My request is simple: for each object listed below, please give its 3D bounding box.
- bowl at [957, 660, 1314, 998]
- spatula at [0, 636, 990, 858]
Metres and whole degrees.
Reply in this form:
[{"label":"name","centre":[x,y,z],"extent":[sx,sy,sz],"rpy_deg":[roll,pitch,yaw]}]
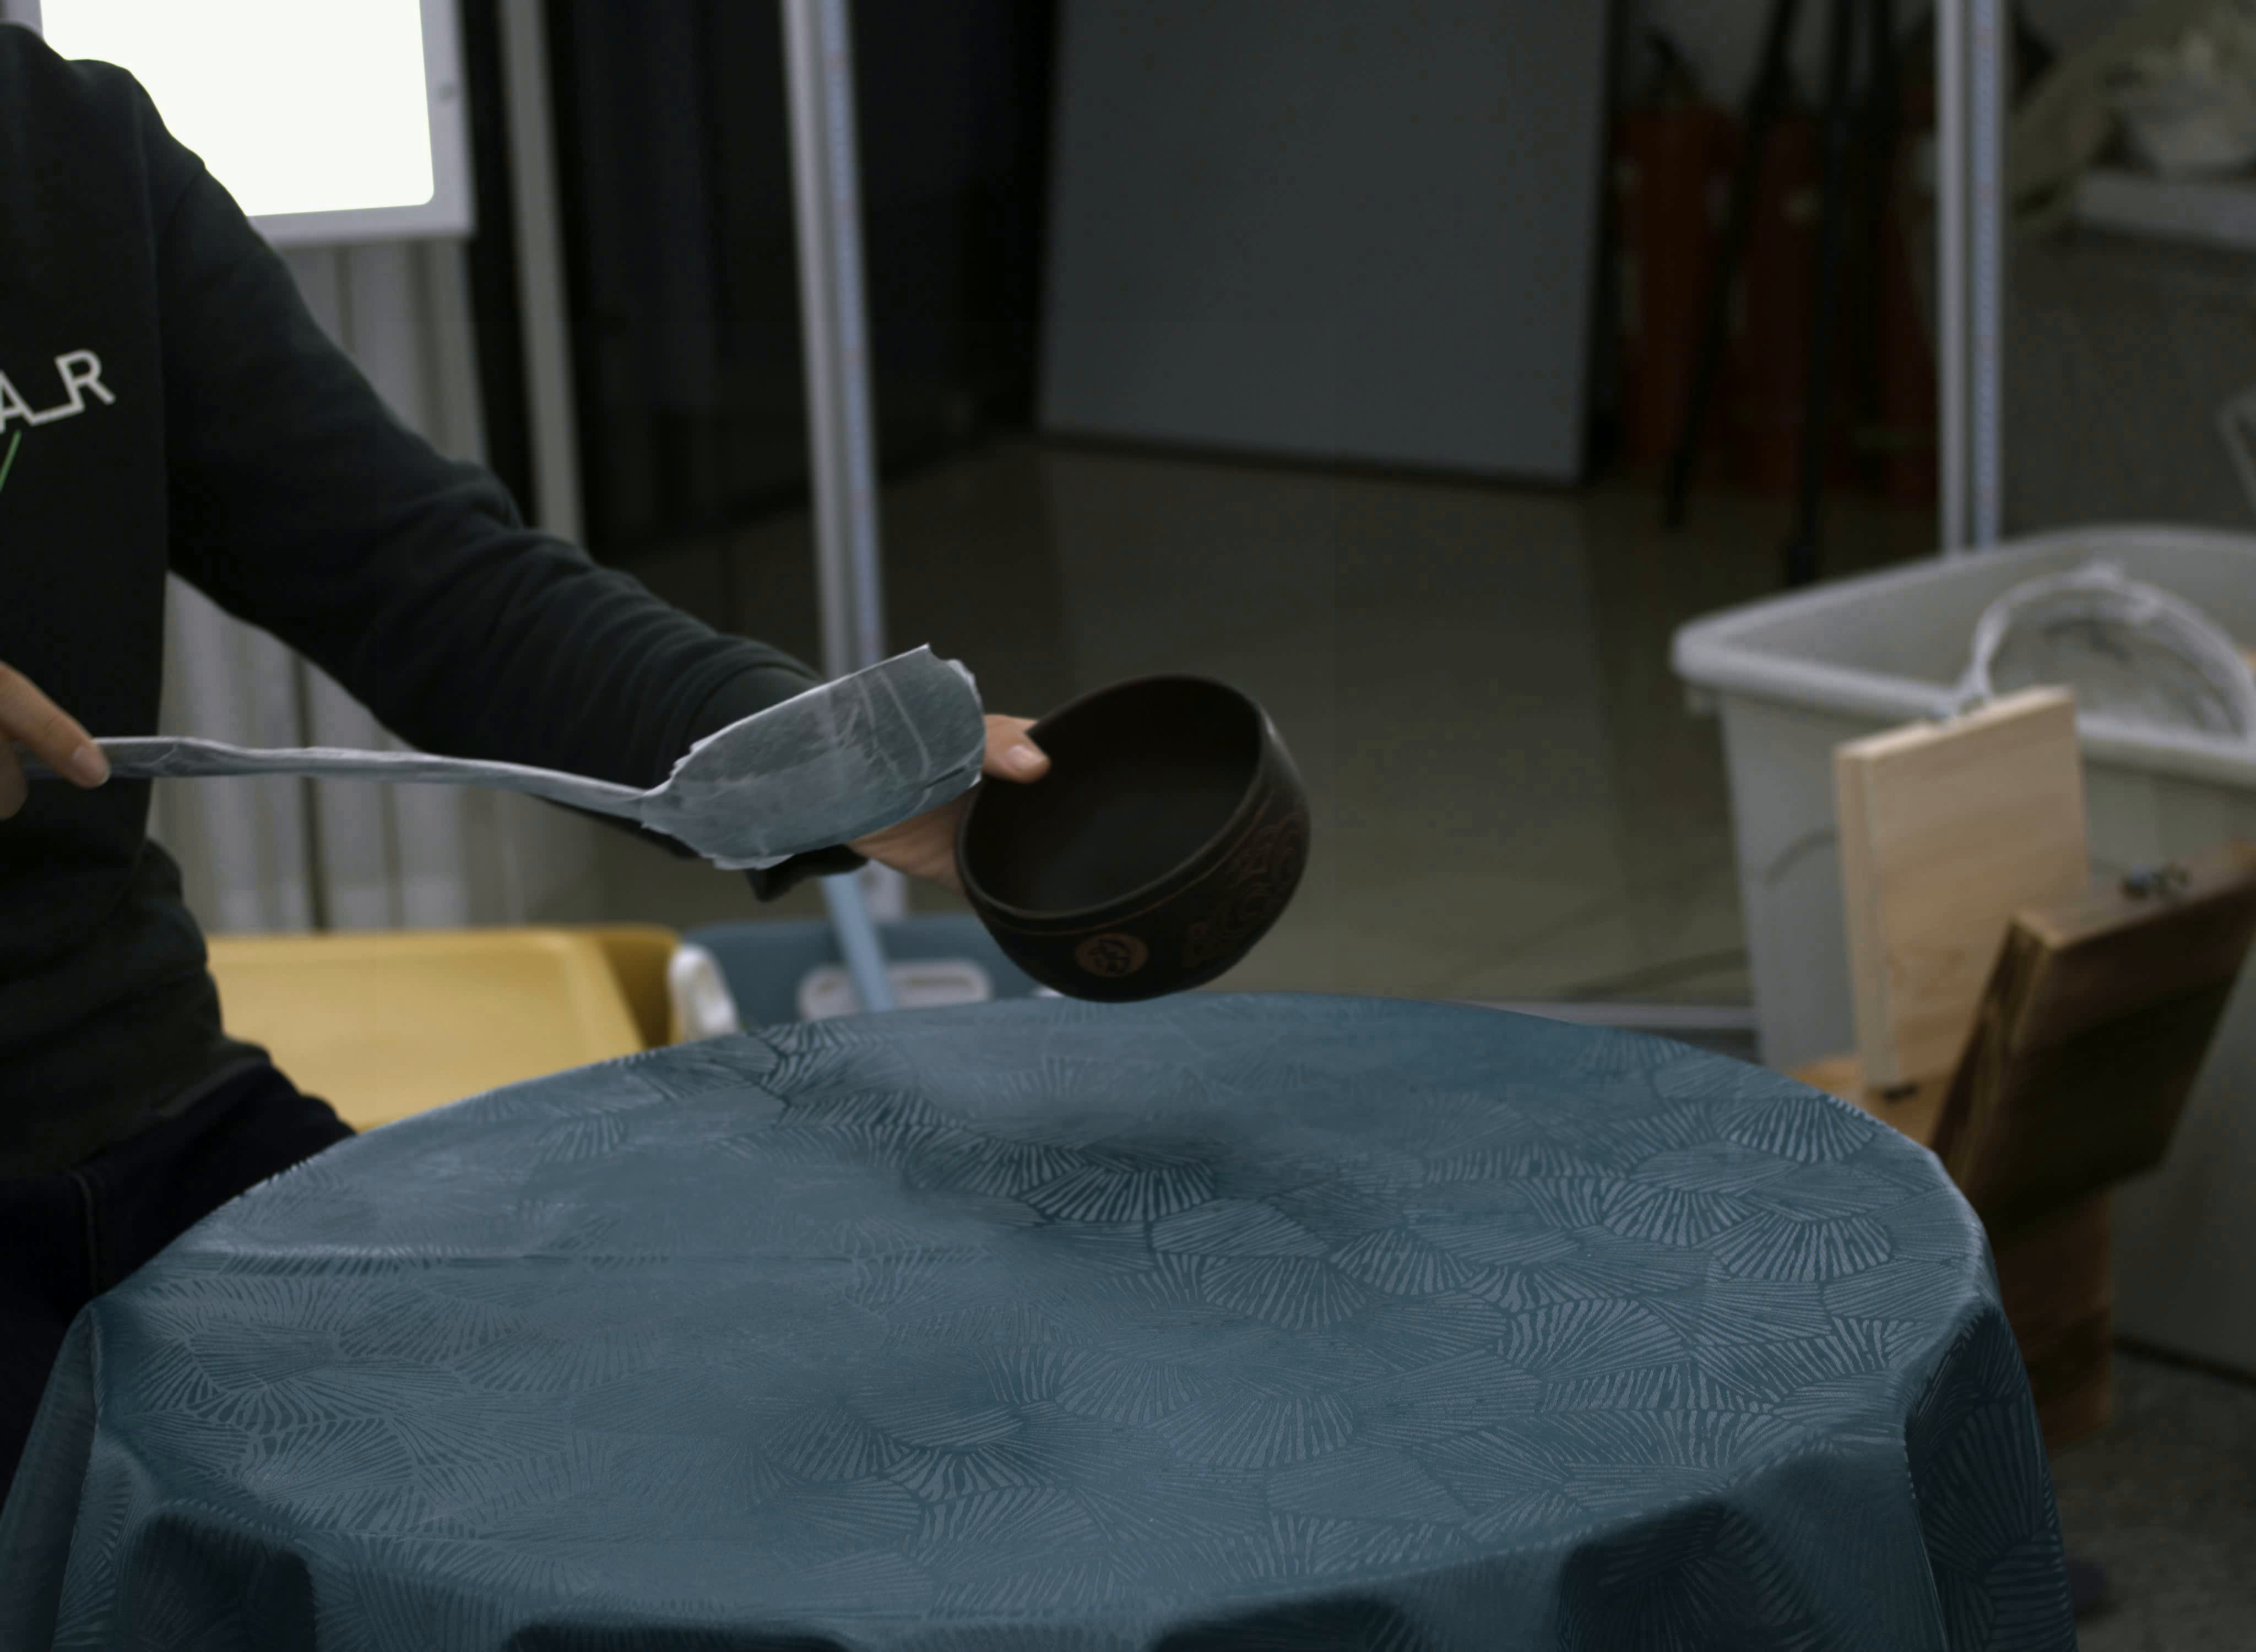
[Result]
[{"label":"bowl","centre":[0.009,0.010,1.785],"extent":[0.117,0.069,0.119],"rpy_deg":[-20,36,14]},{"label":"spatula","centre":[-0.223,-0.019,1.653],"extent":[0.361,0.045,0.098],"rpy_deg":[1,-27,6]}]
